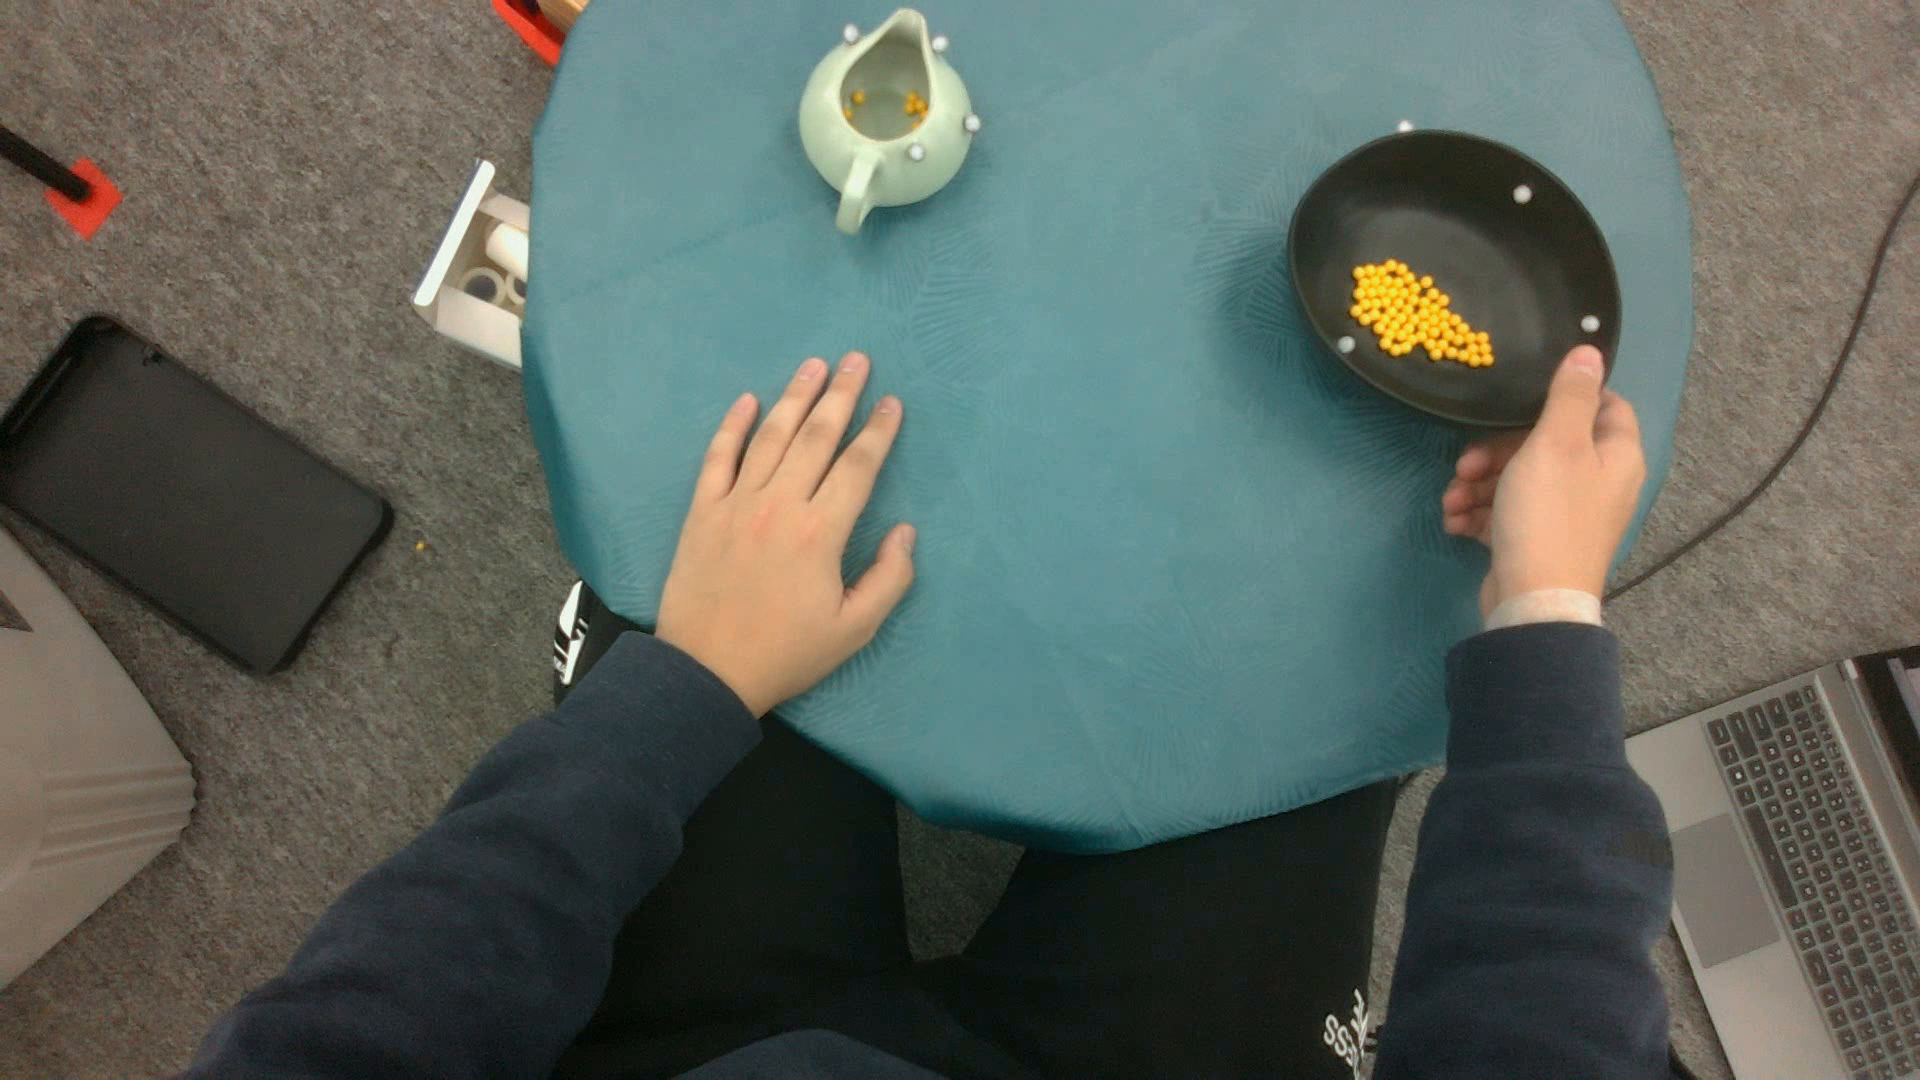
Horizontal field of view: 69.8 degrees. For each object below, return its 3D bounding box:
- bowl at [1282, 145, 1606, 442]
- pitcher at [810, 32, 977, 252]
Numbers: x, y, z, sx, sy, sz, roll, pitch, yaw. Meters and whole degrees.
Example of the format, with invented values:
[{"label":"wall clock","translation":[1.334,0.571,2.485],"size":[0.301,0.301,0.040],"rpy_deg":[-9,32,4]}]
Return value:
[{"label":"bowl","translation":[0.237,-0.117,0.690],"size":[0.170,0.066,0.137],"rpy_deg":[29,83,1]},{"label":"pitcher","translation":[-0.037,-0.195,0.695],"size":[0.086,0.060,0.108],"rpy_deg":[14,84,1]}]
